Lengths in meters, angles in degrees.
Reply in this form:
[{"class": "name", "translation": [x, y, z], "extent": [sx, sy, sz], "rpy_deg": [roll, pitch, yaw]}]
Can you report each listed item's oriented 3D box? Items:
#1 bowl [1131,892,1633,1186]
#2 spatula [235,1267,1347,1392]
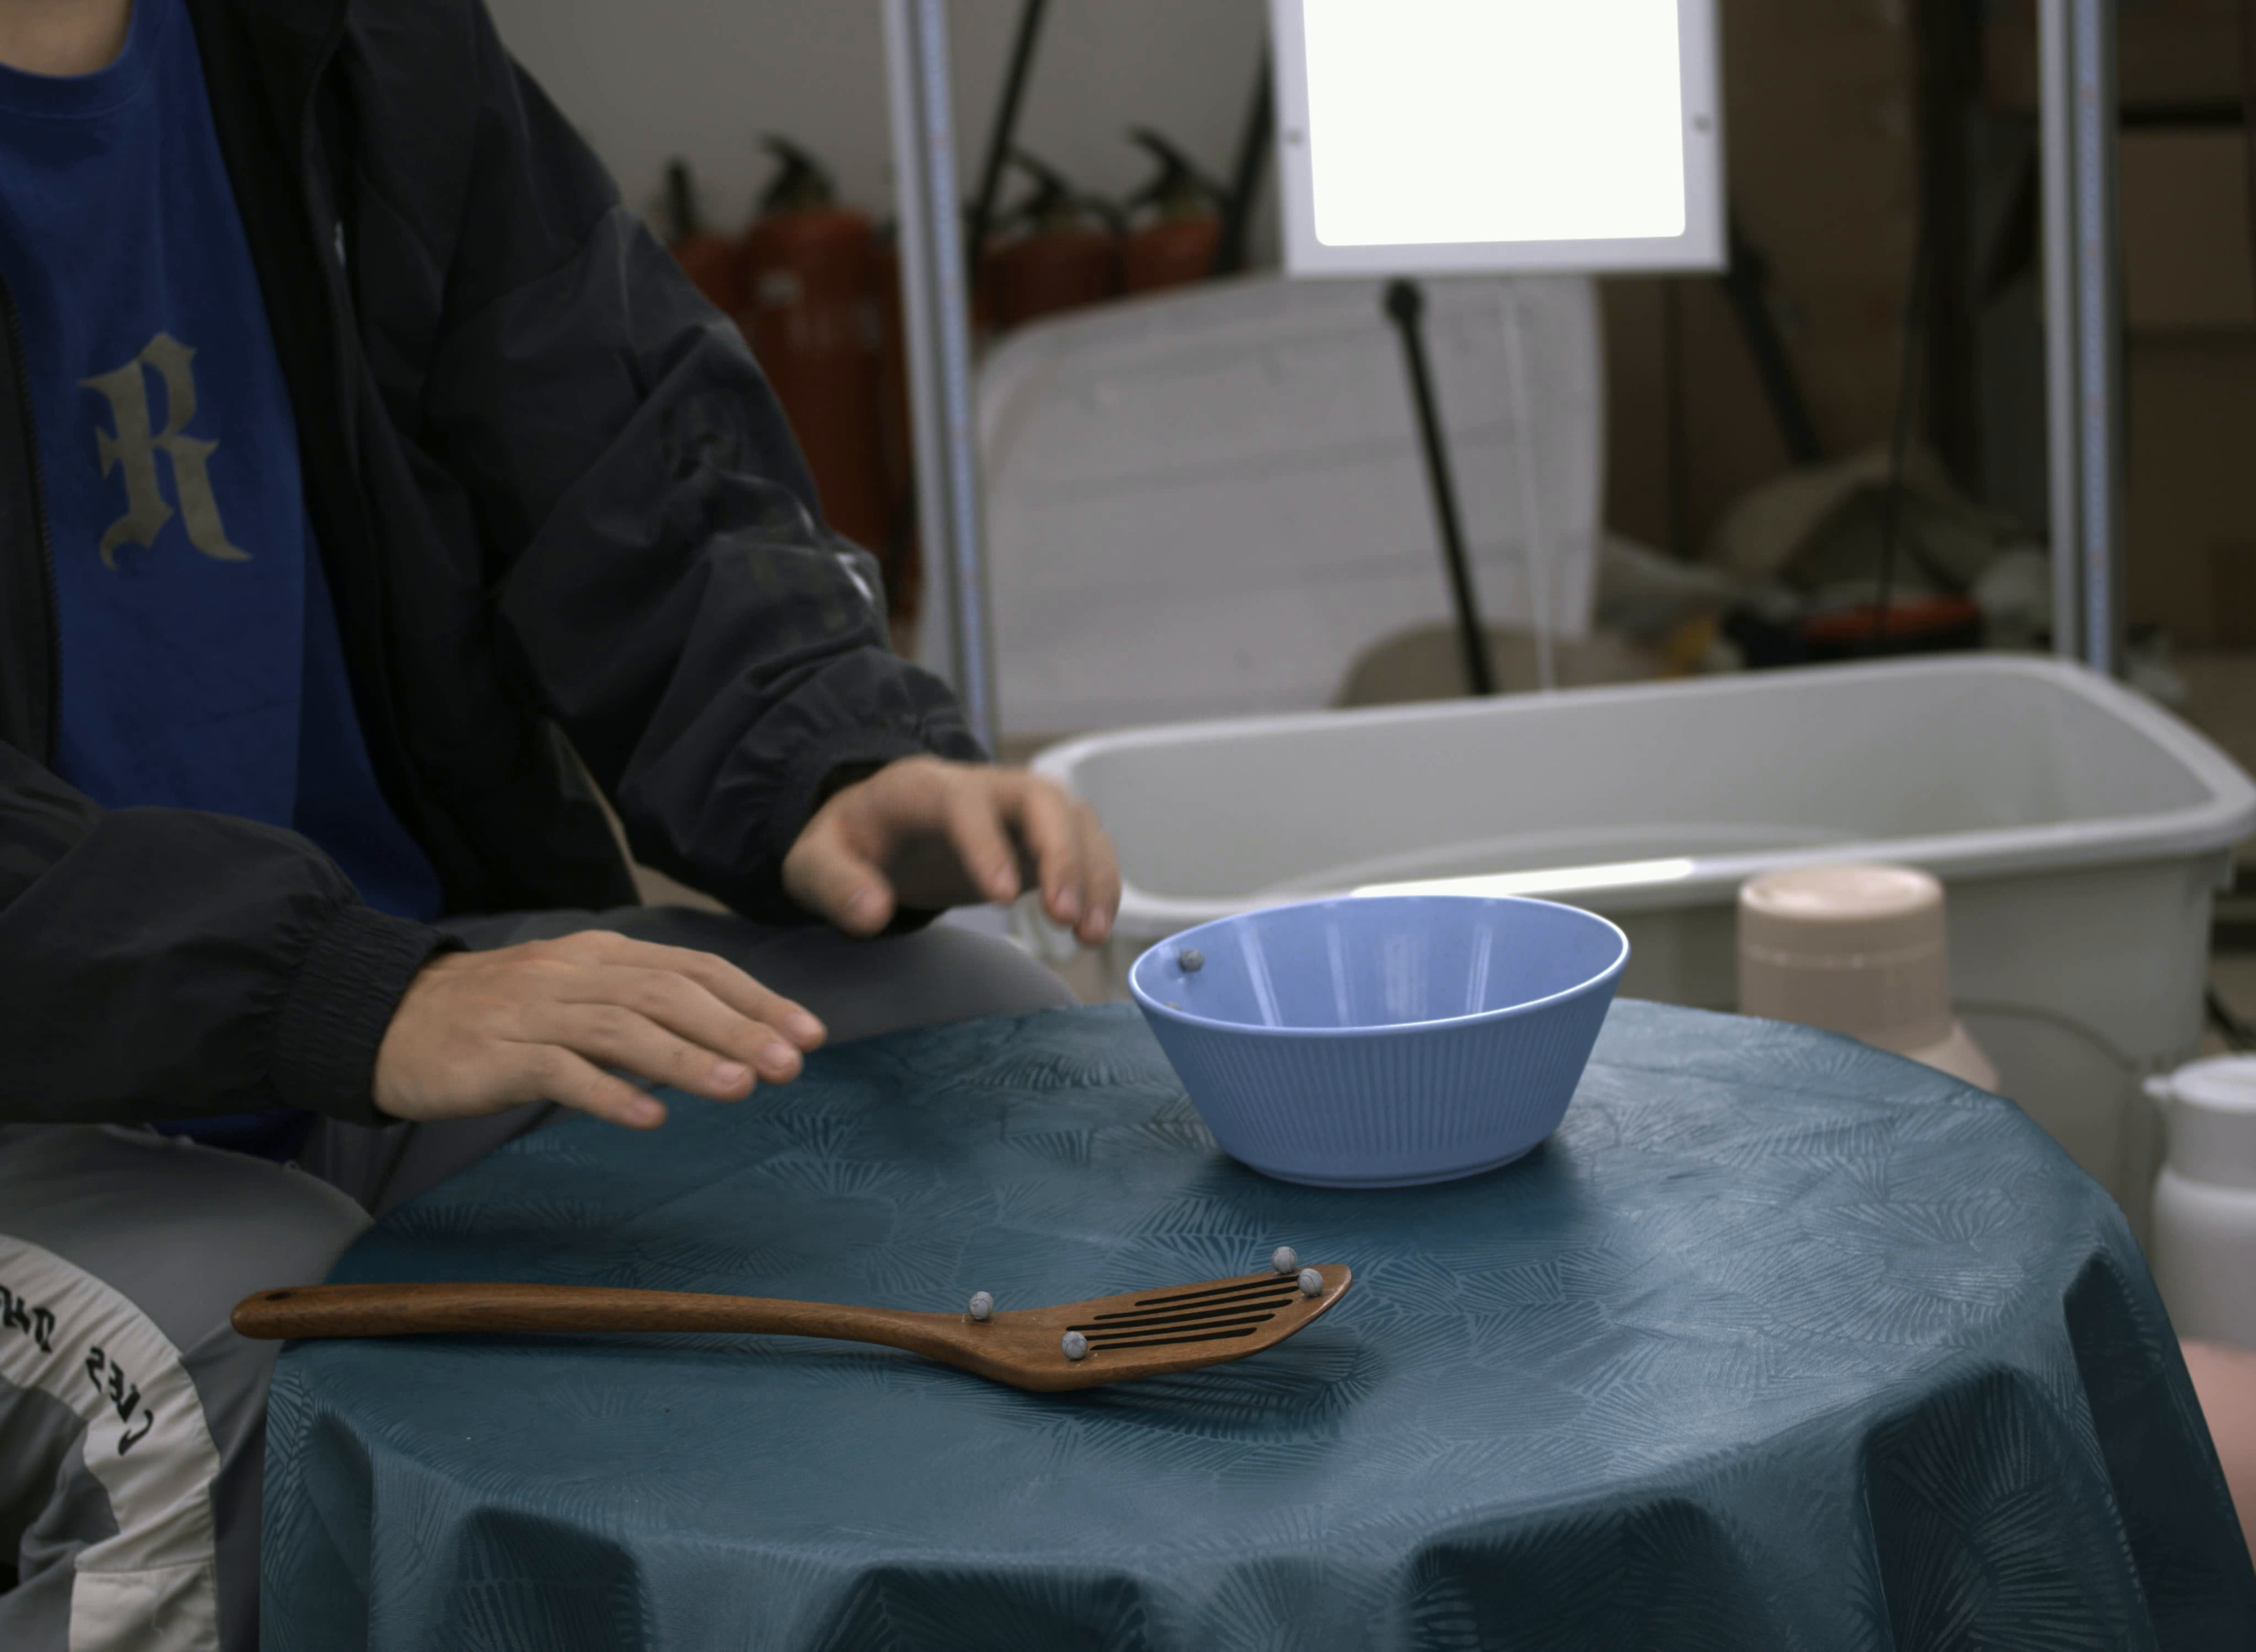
[{"class": "bowl", "translation": [0.091, 0.077, 1.918], "extent": [0.175, 0.070, 0.176], "rpy_deg": [-6, 13, 0]}, {"class": "spatula", "translation": [-0.116, 0.159, 1.765], "extent": [0.392, 0.024, 0.084], "rpy_deg": [-1, 14, 23]}]
